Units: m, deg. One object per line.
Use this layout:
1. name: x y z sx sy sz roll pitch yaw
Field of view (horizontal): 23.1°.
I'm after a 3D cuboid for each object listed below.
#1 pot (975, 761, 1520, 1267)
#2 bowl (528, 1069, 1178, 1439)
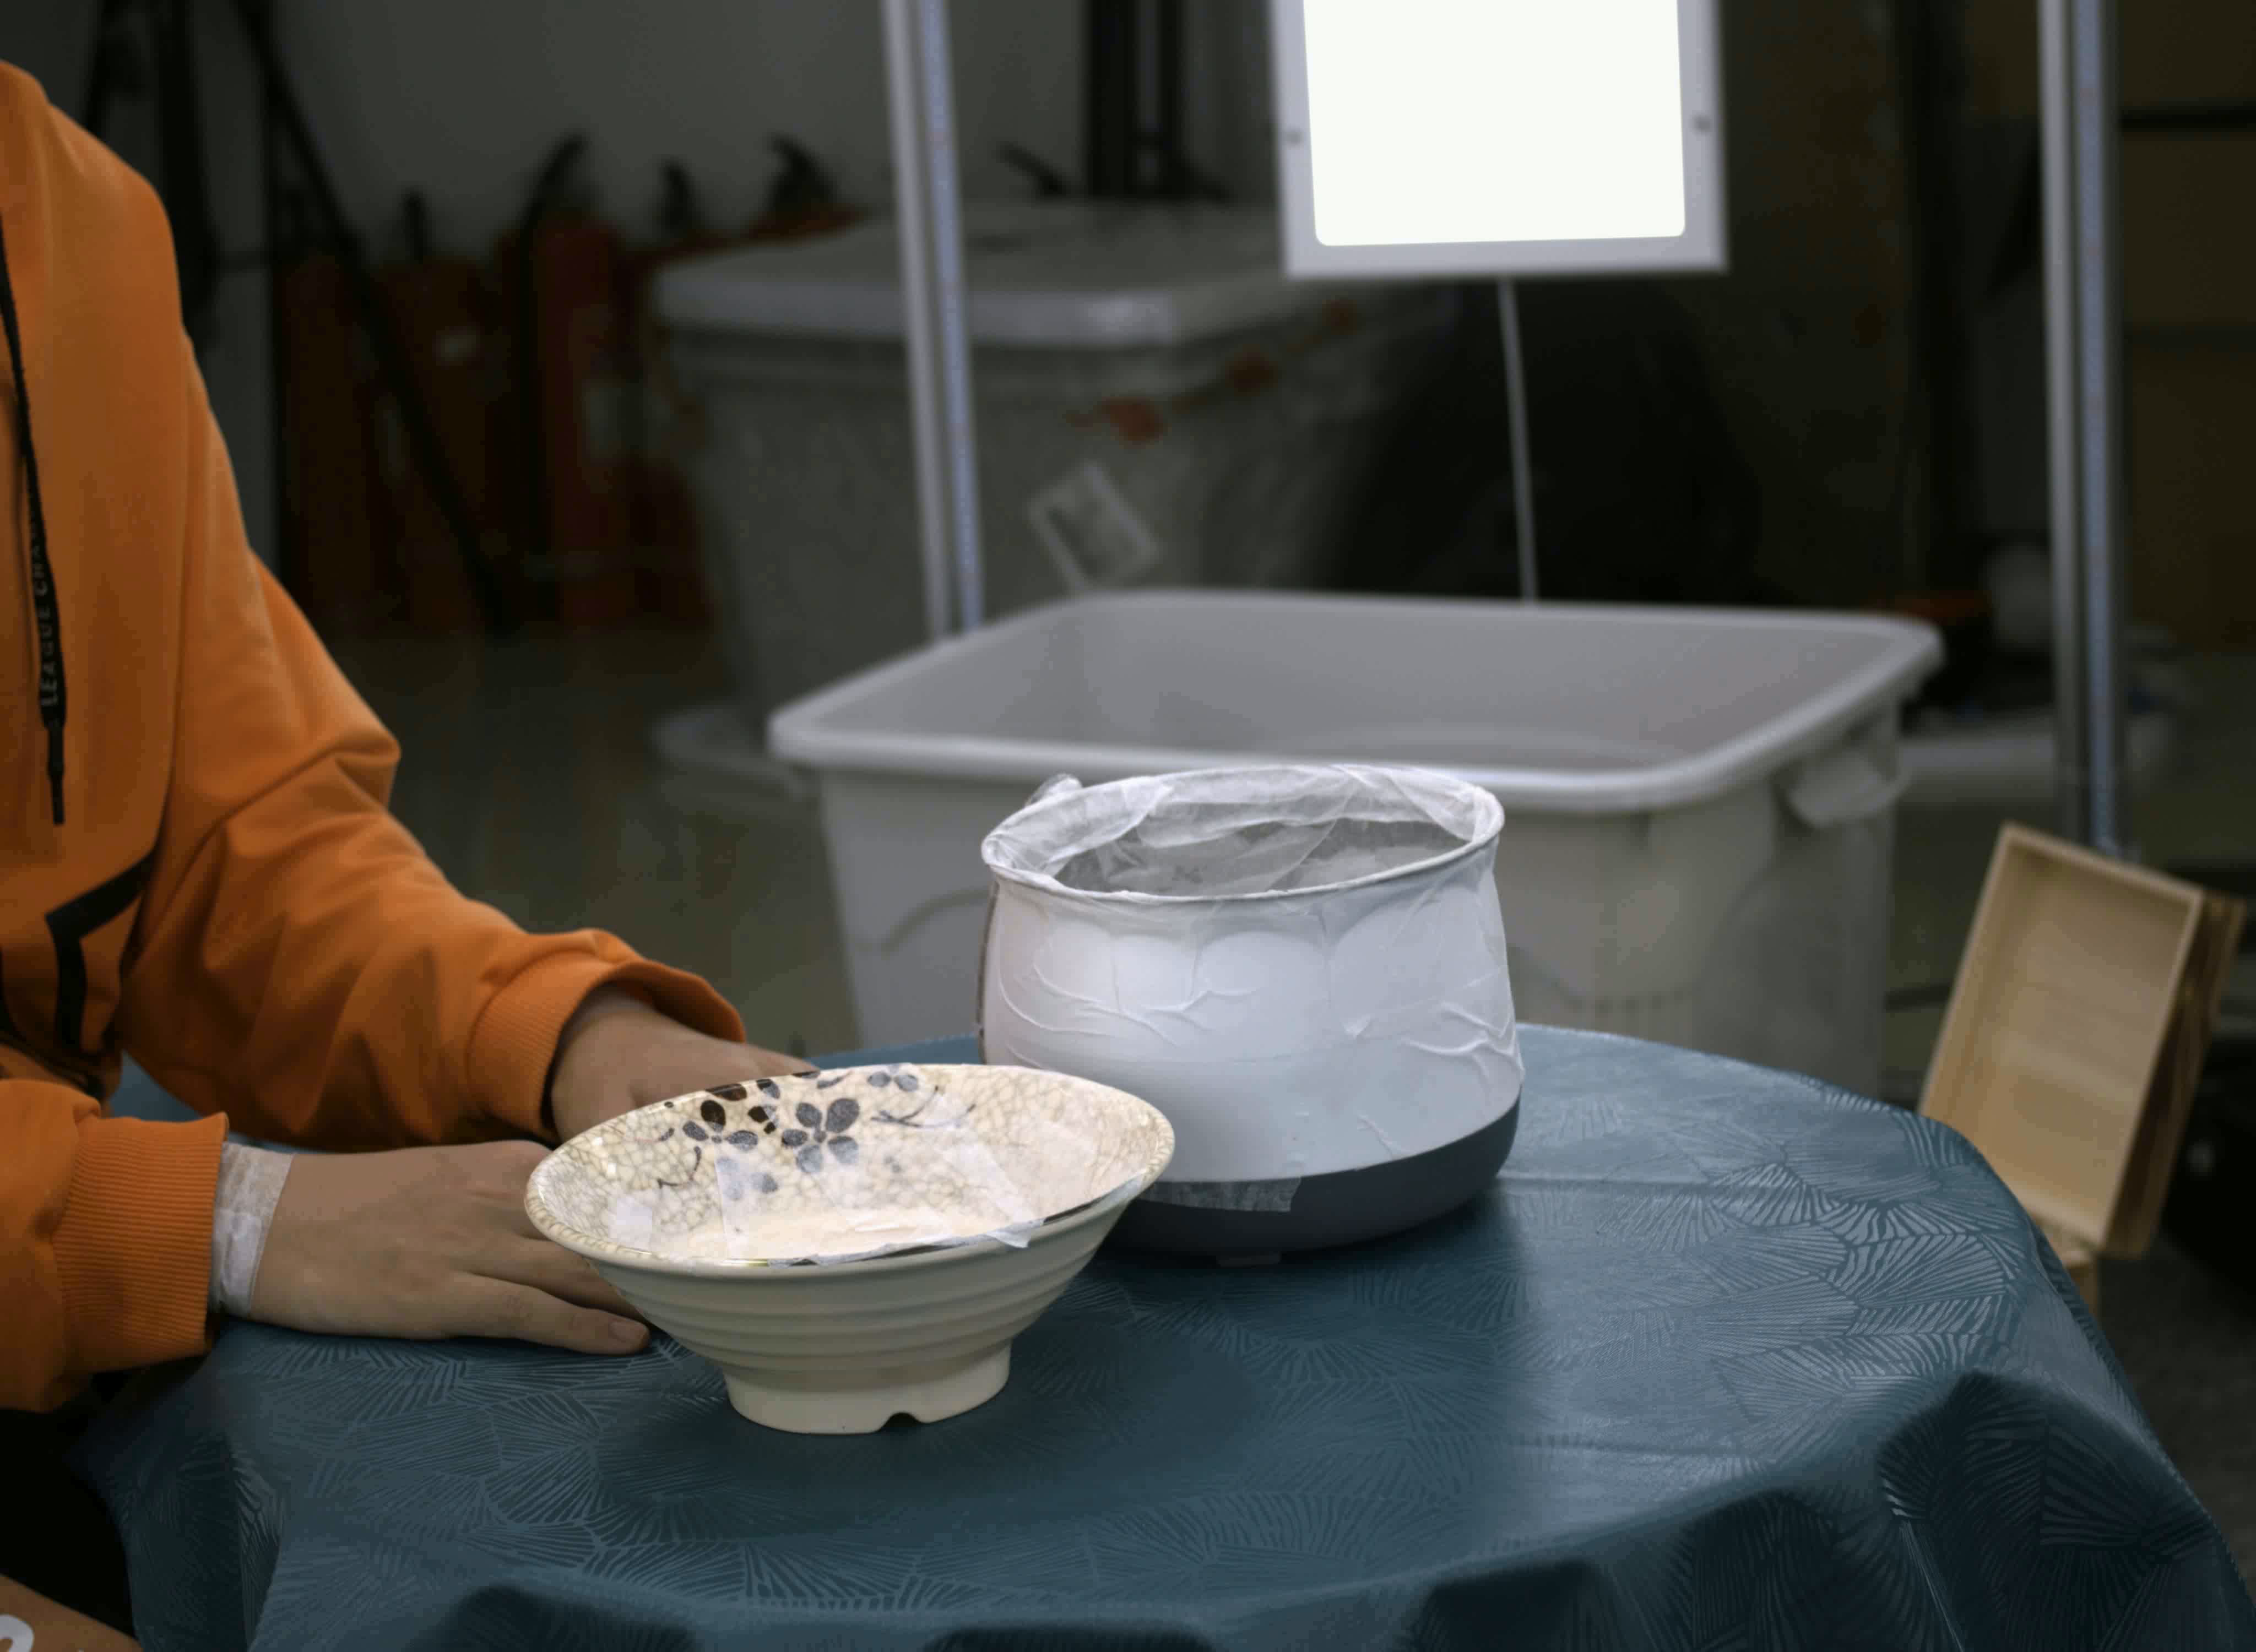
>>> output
1. pot: 0.025 0.058 1.880 0.174 0.137 0.238 -15 17 -36
2. bowl: -0.081 0.140 1.716 0.203 0.078 0.204 -7 13 0
